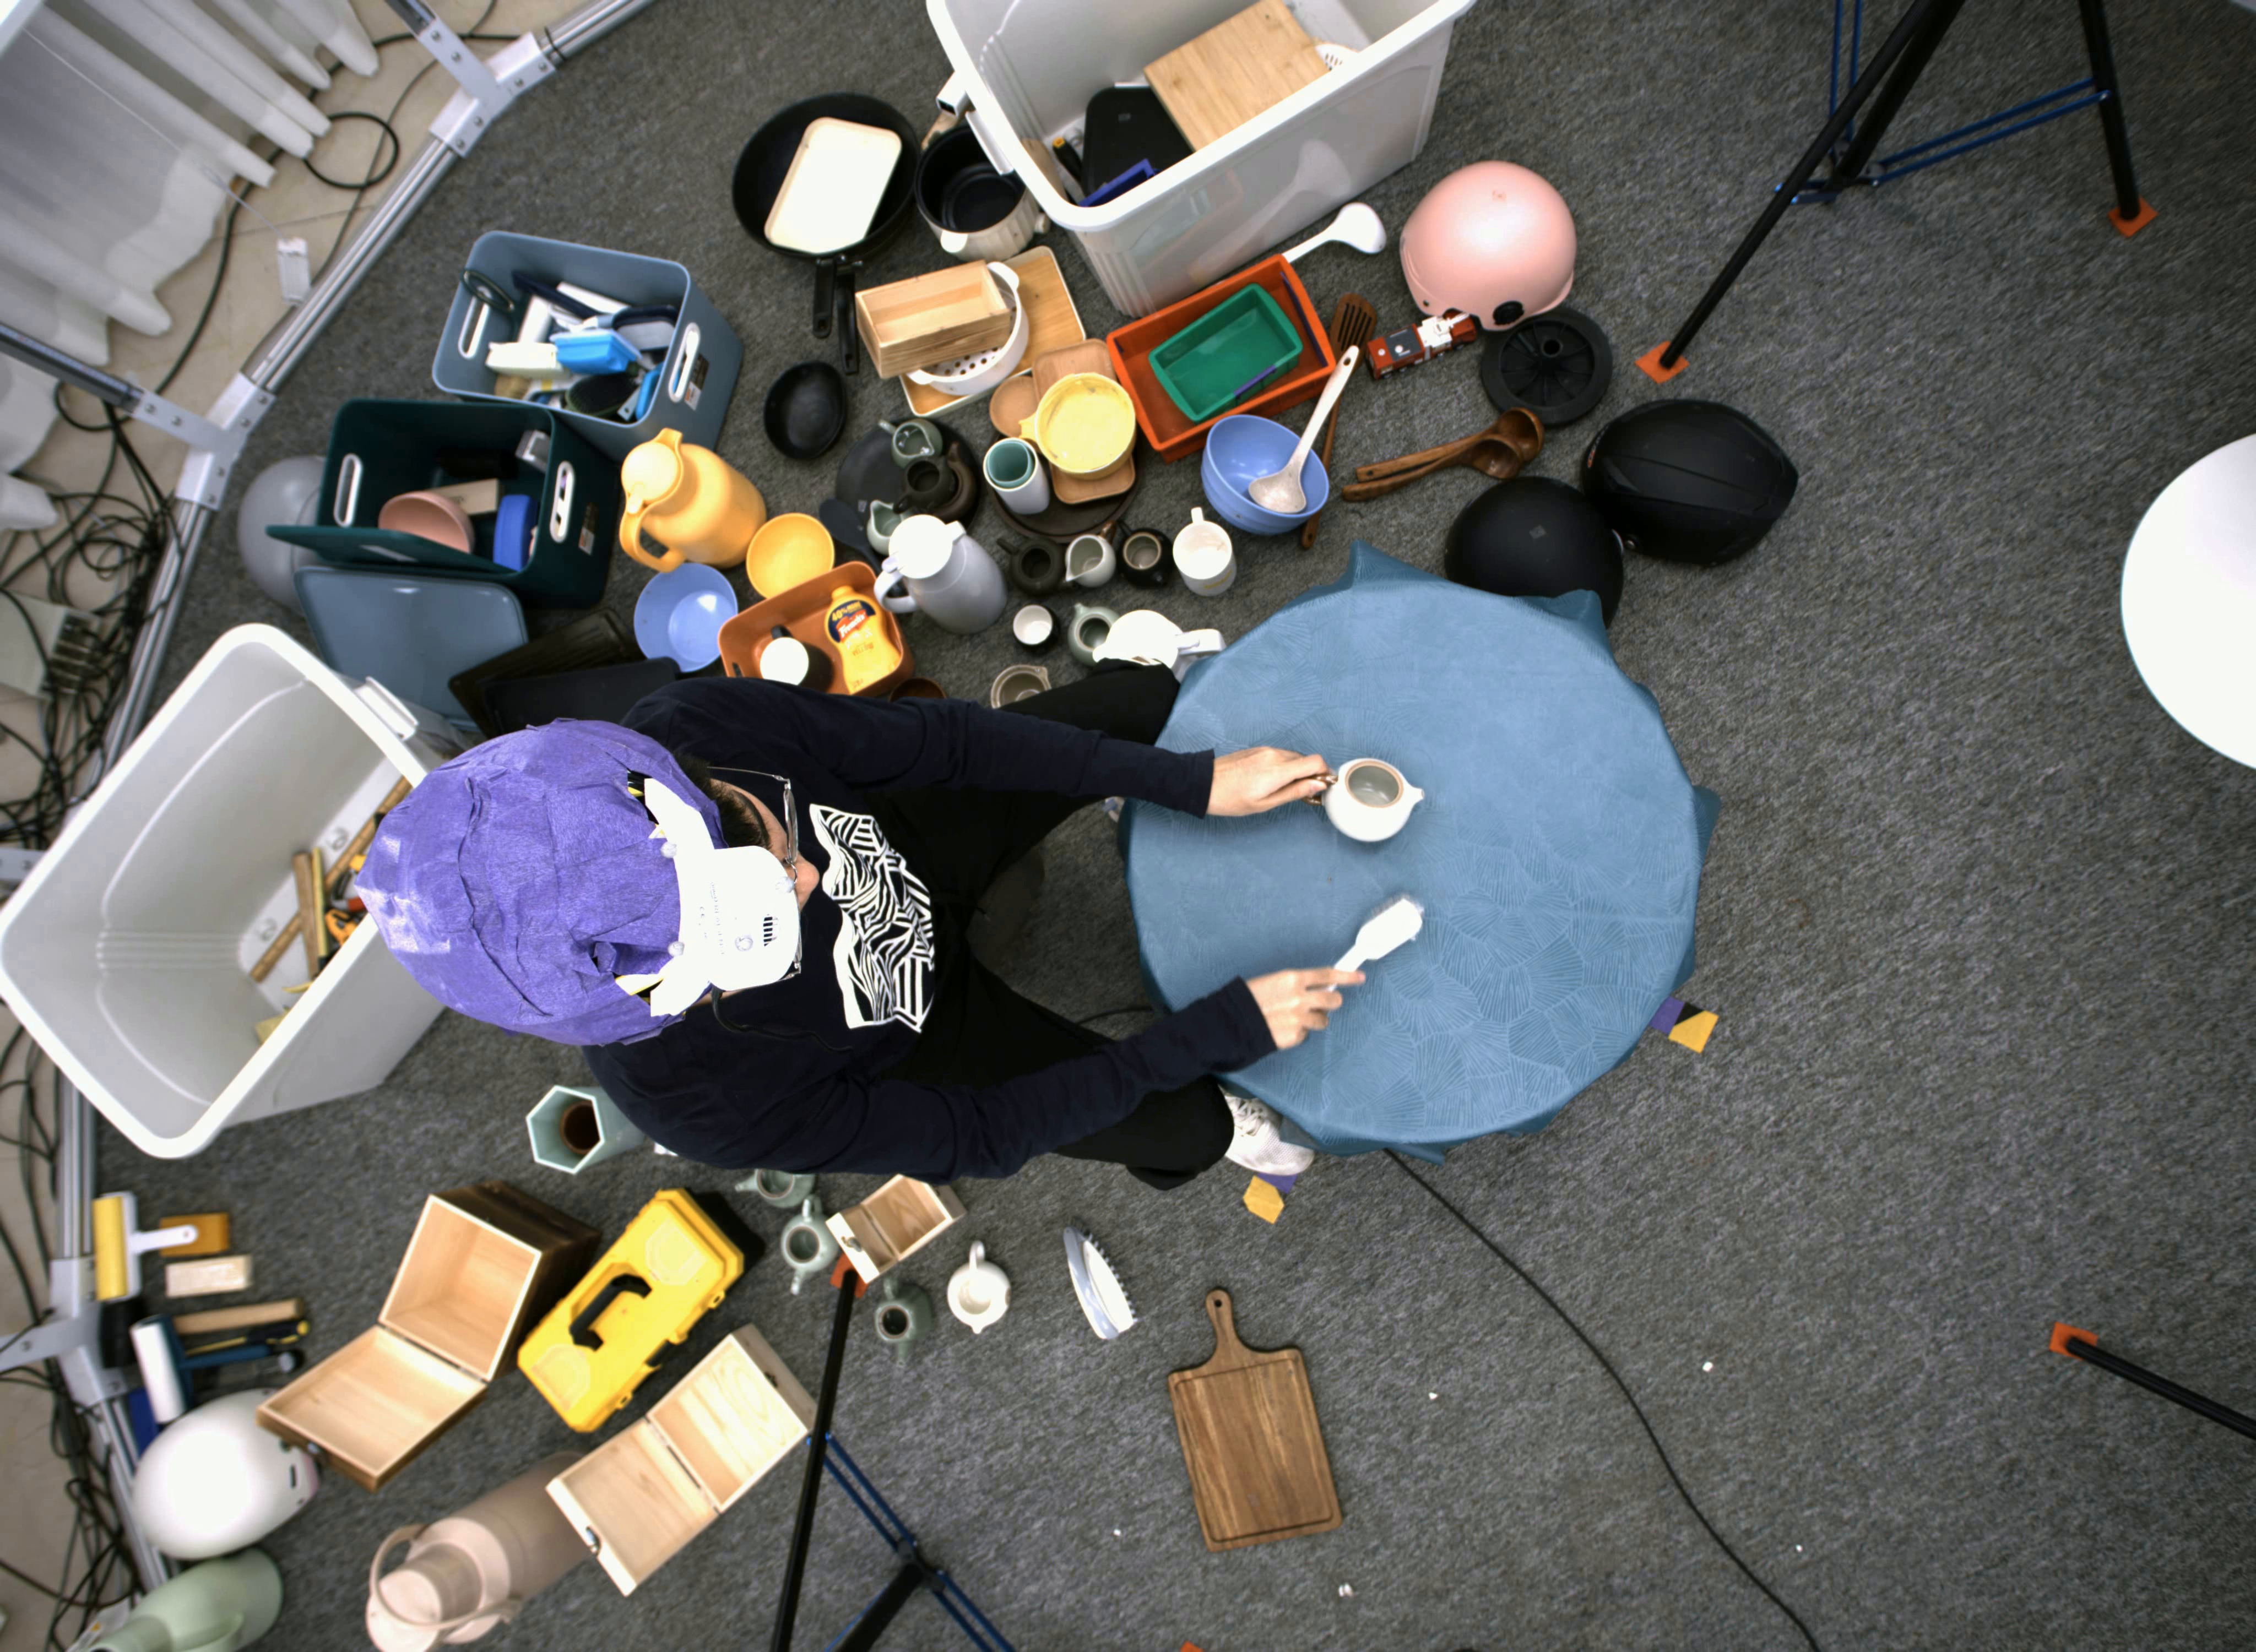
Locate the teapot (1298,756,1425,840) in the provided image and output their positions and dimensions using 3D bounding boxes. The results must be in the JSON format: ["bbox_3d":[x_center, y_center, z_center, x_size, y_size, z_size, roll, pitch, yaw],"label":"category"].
[{"bbox_3d":[0.240,-0.031,1.430,0.128,0.061,0.089,8,60,0],"label":"teapot"}]

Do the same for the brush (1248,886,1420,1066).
[{"bbox_3d":[0.207,0.152,1.418,0.242,0.050,0.034,-44,102,-6],"label":"brush"}]
